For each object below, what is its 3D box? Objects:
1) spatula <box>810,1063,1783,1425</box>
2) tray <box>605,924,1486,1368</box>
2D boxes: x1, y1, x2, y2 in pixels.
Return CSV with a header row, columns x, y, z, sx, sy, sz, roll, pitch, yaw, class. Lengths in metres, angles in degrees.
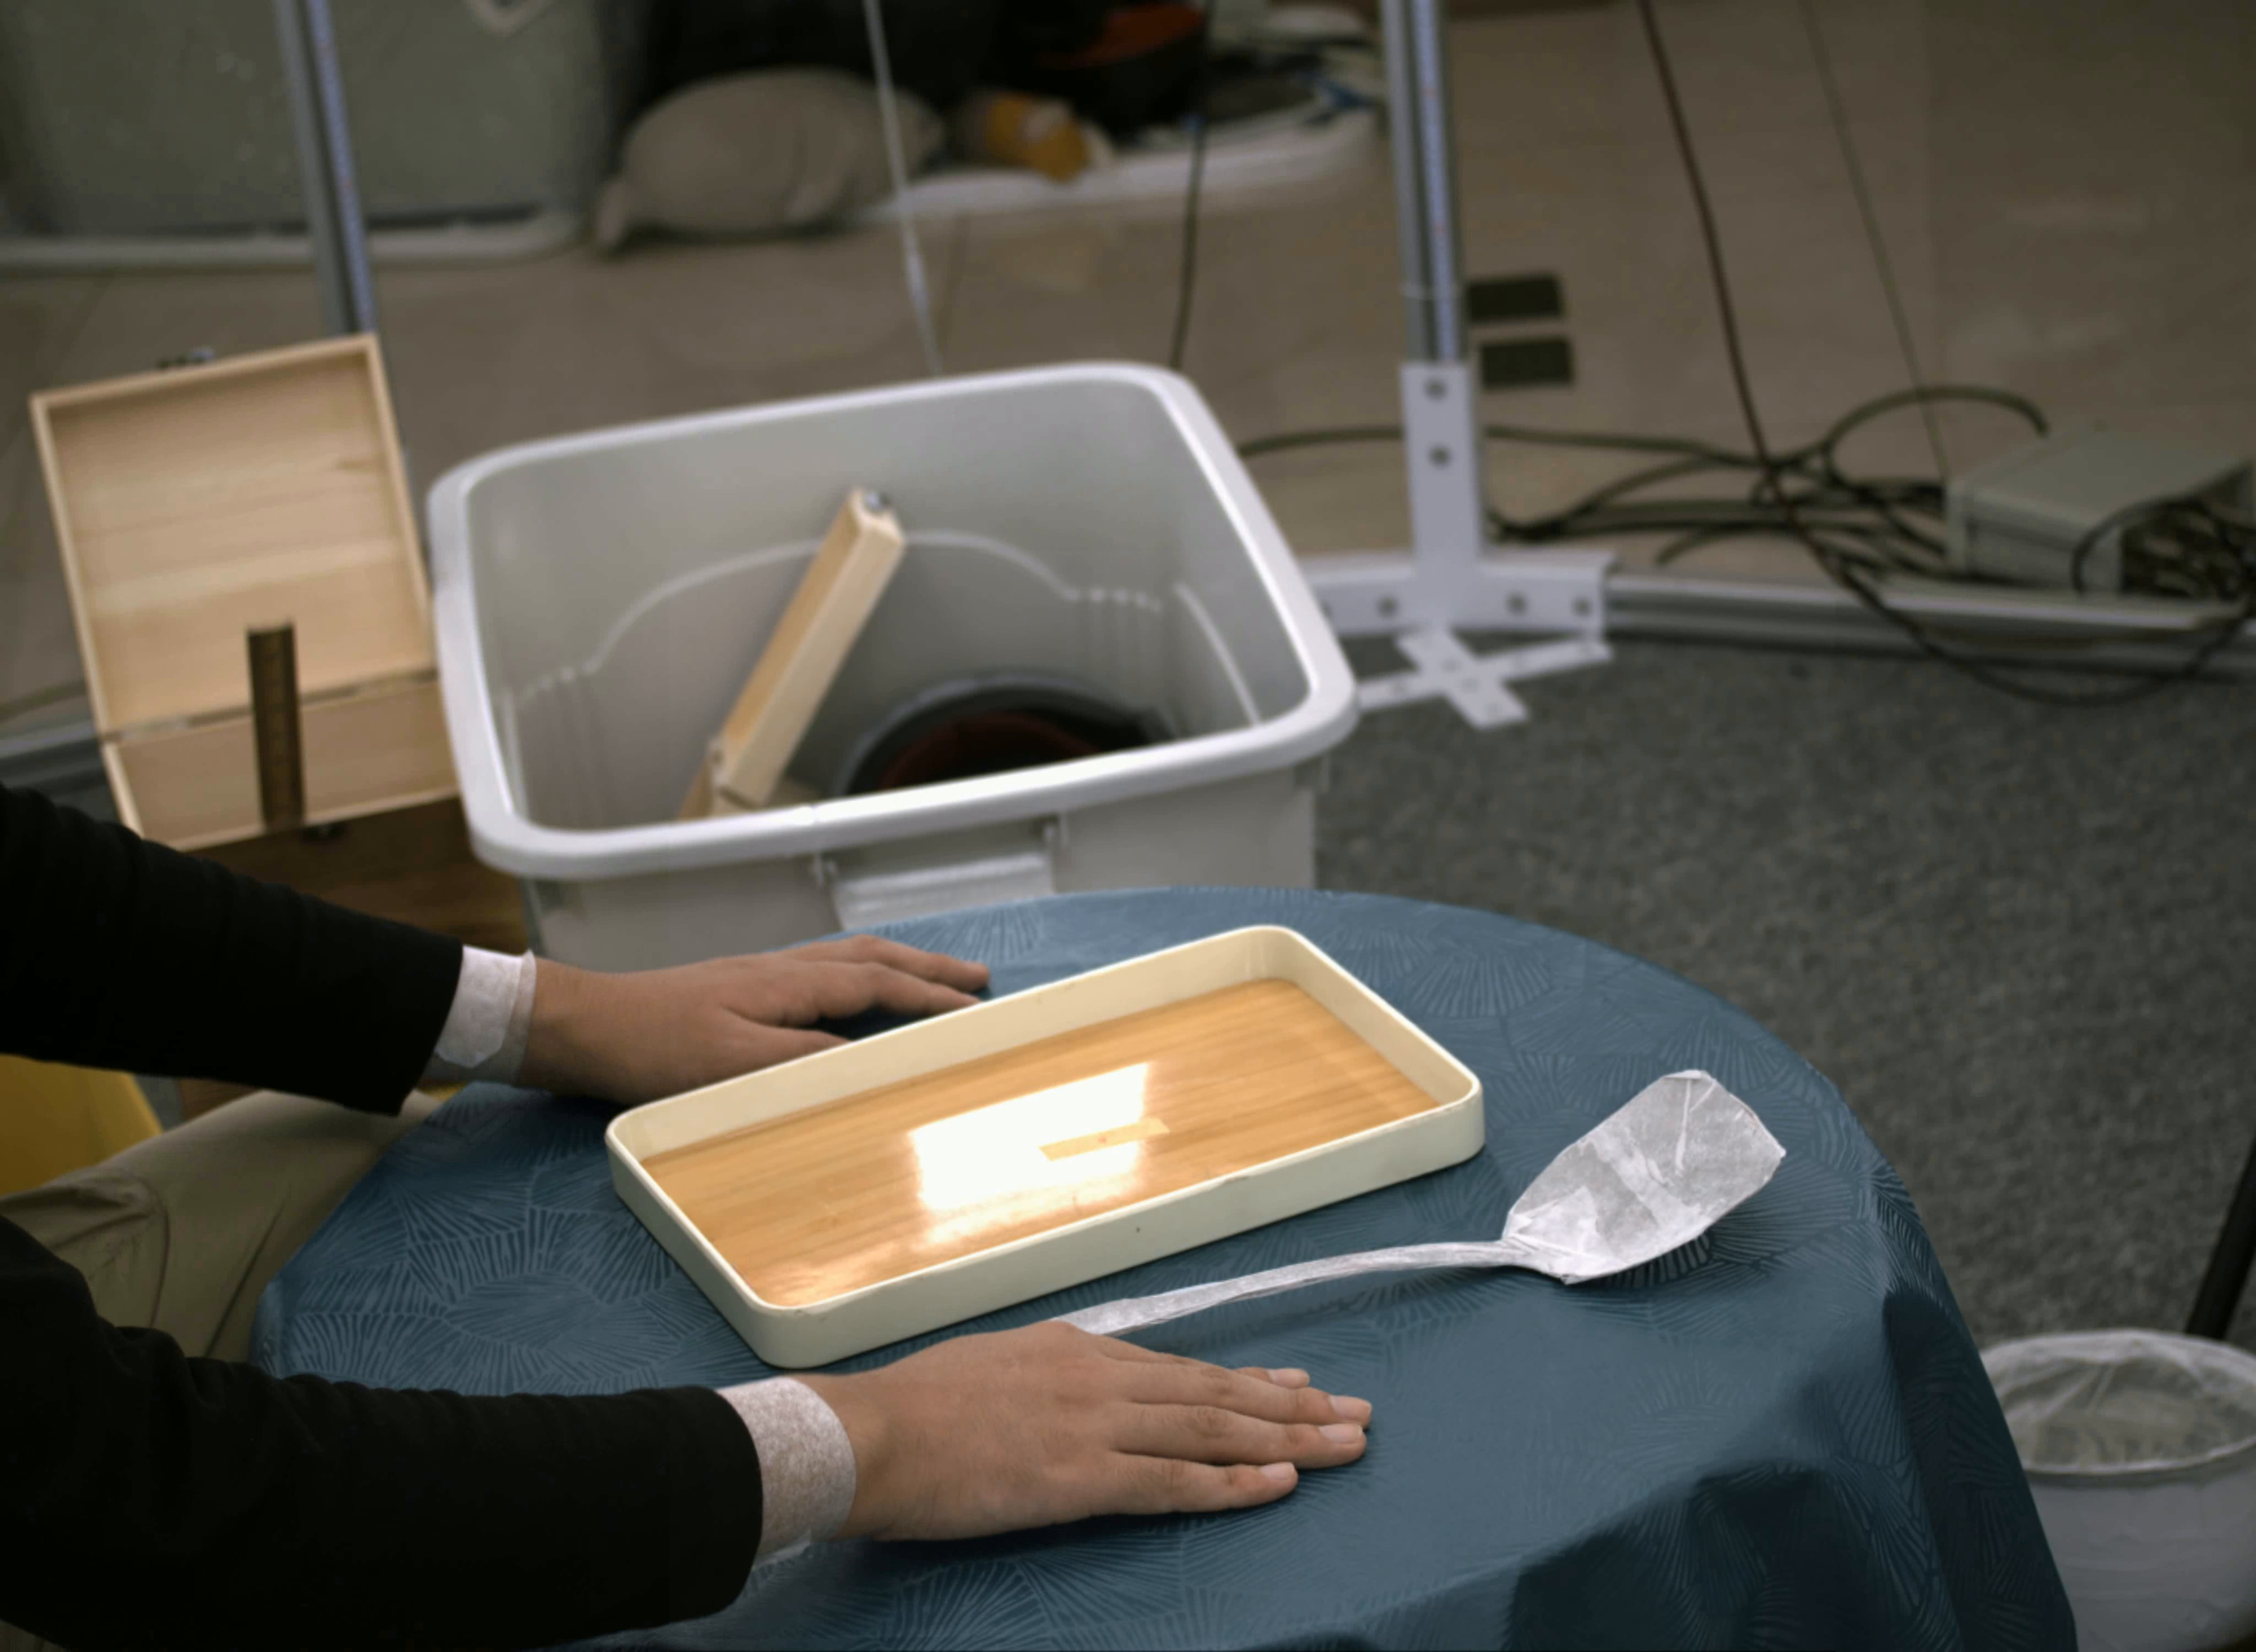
x,y,z,sx,sy,sz,roll,pitch,yaw,class
0.060,0.158,2.046,0.364,0.045,0.097,-12,26,-13,spatula
-0.033,0.118,2.168,0.299,0.028,0.189,-16,27,-19,tray
